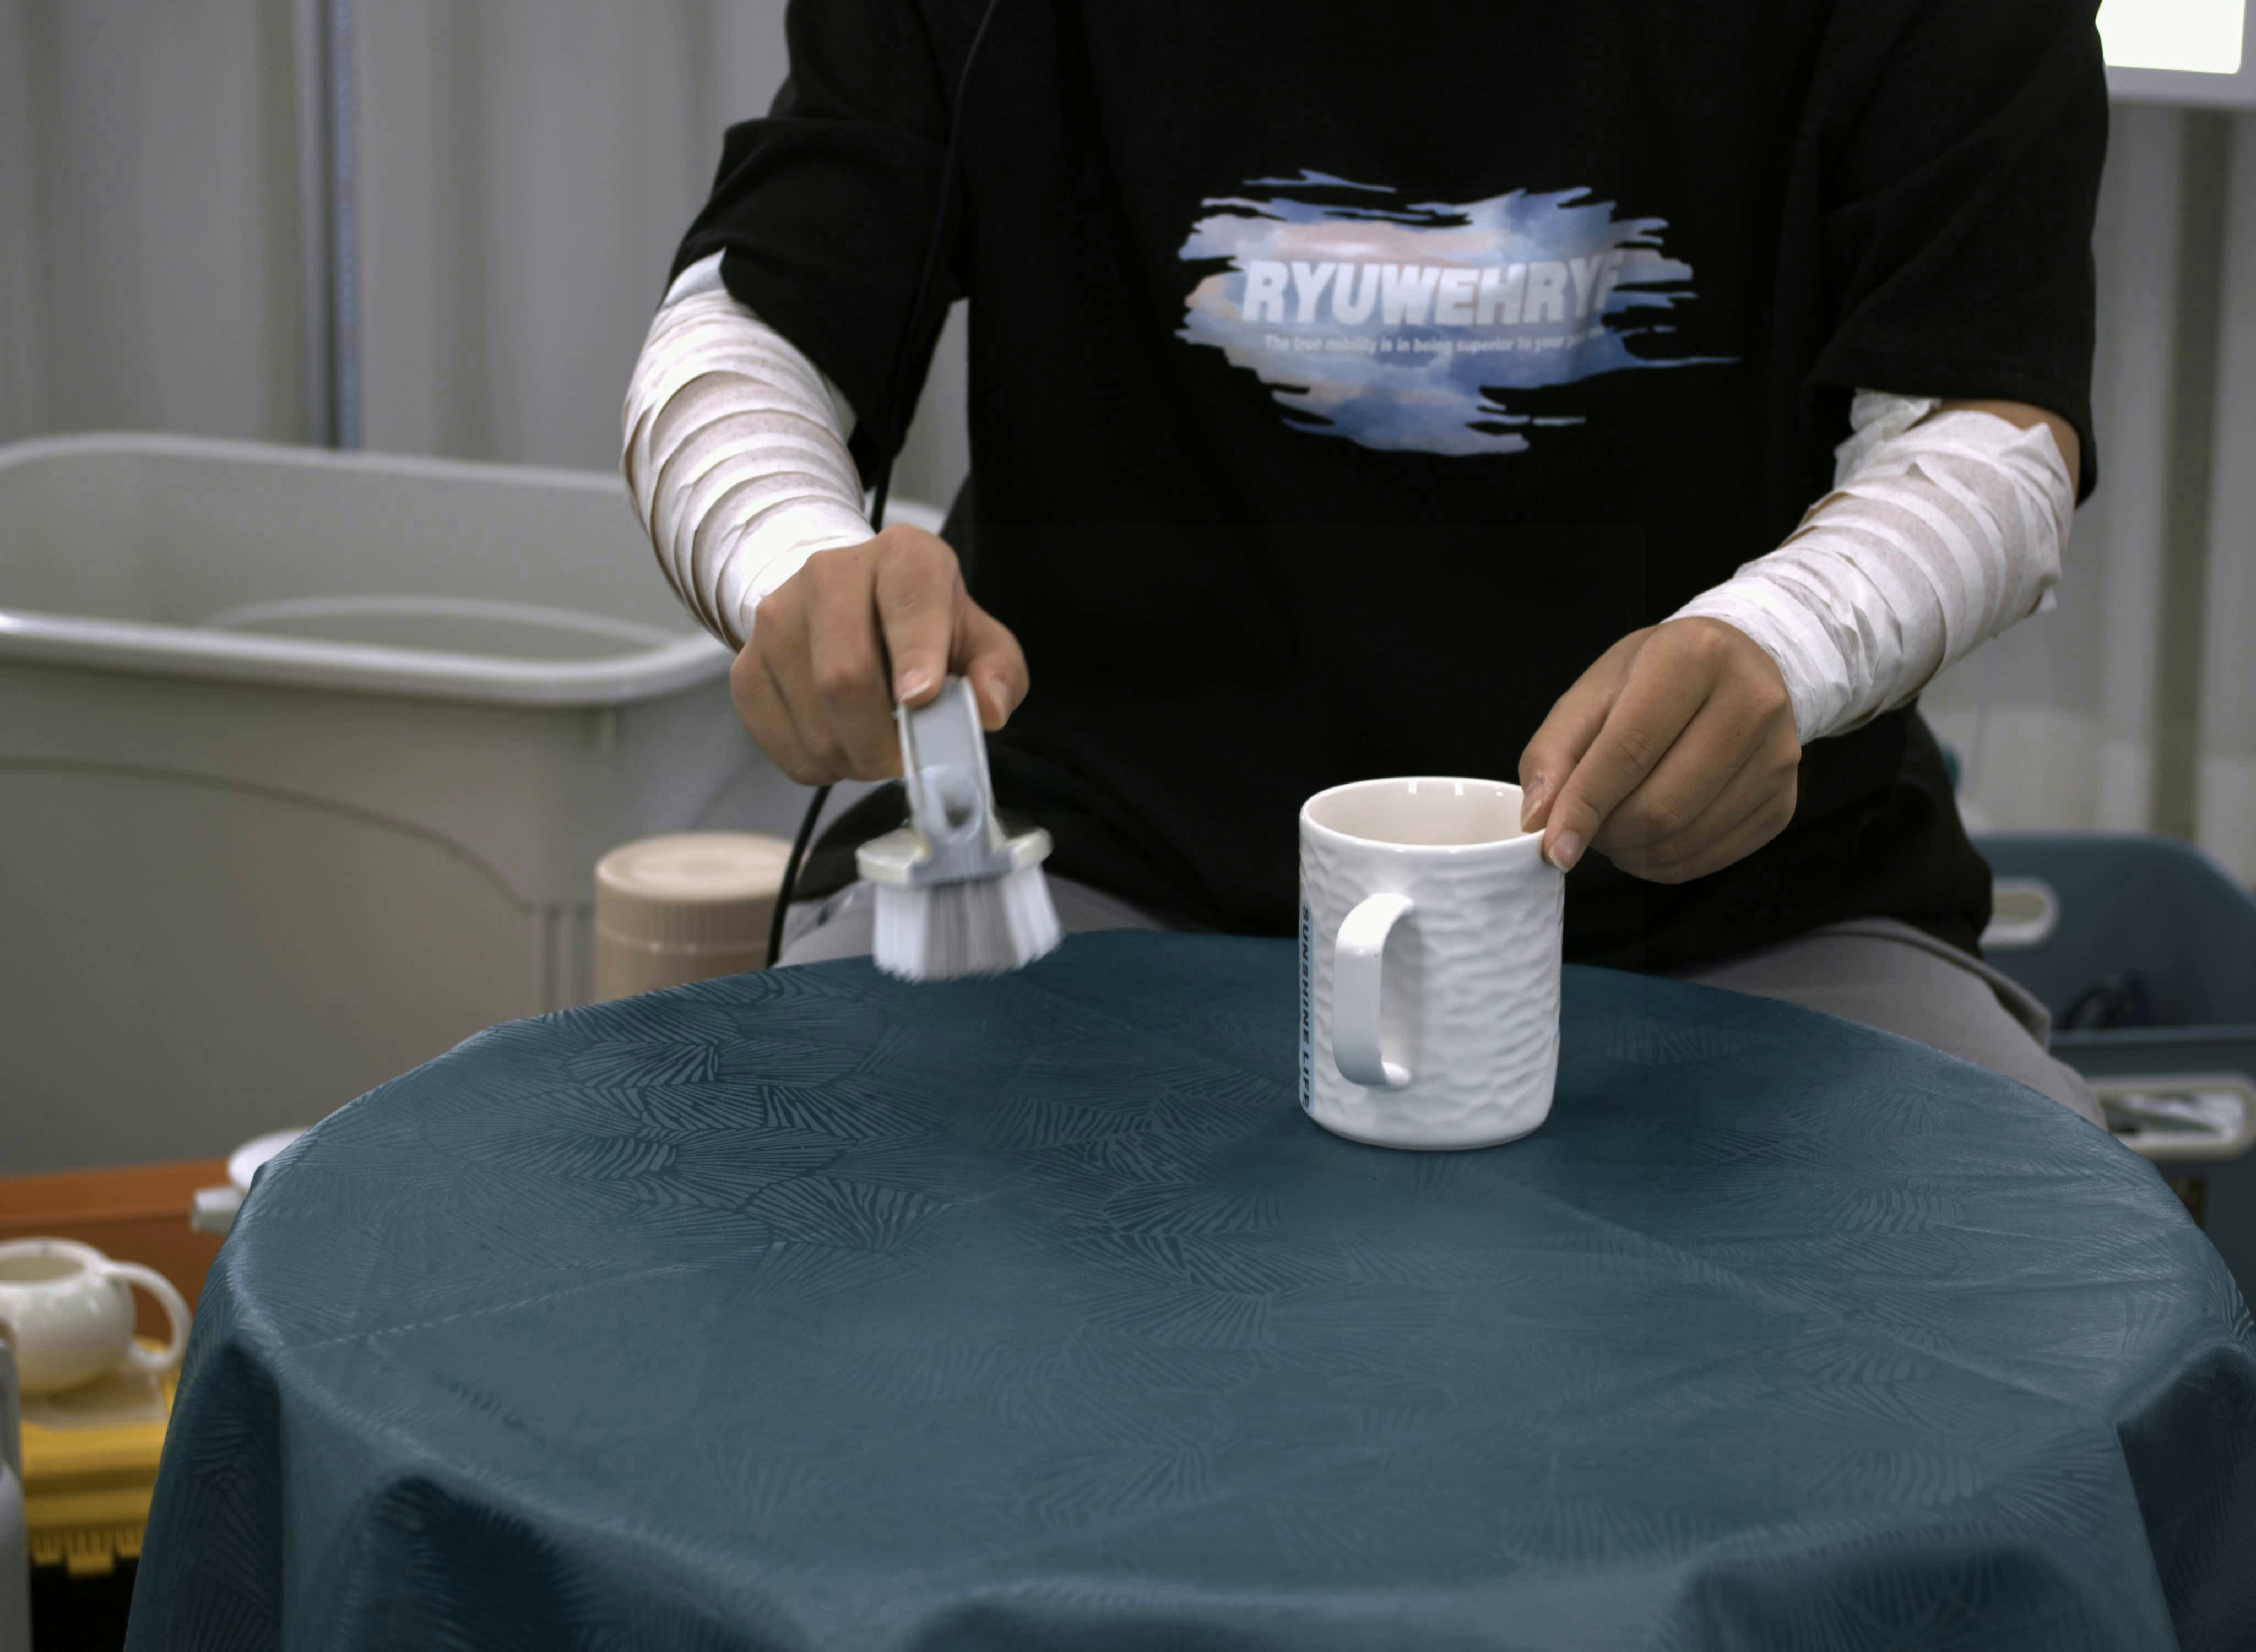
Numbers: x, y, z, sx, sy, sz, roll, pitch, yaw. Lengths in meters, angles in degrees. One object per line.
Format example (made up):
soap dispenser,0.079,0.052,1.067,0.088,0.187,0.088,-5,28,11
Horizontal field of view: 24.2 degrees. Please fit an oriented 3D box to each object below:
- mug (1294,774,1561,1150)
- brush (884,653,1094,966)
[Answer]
mug,0.090,0.047,1.669,0.084,0.103,0.118,6,17,18
brush,-0.048,-0.007,1.629,0.061,0.094,0.175,-14,5,-1
